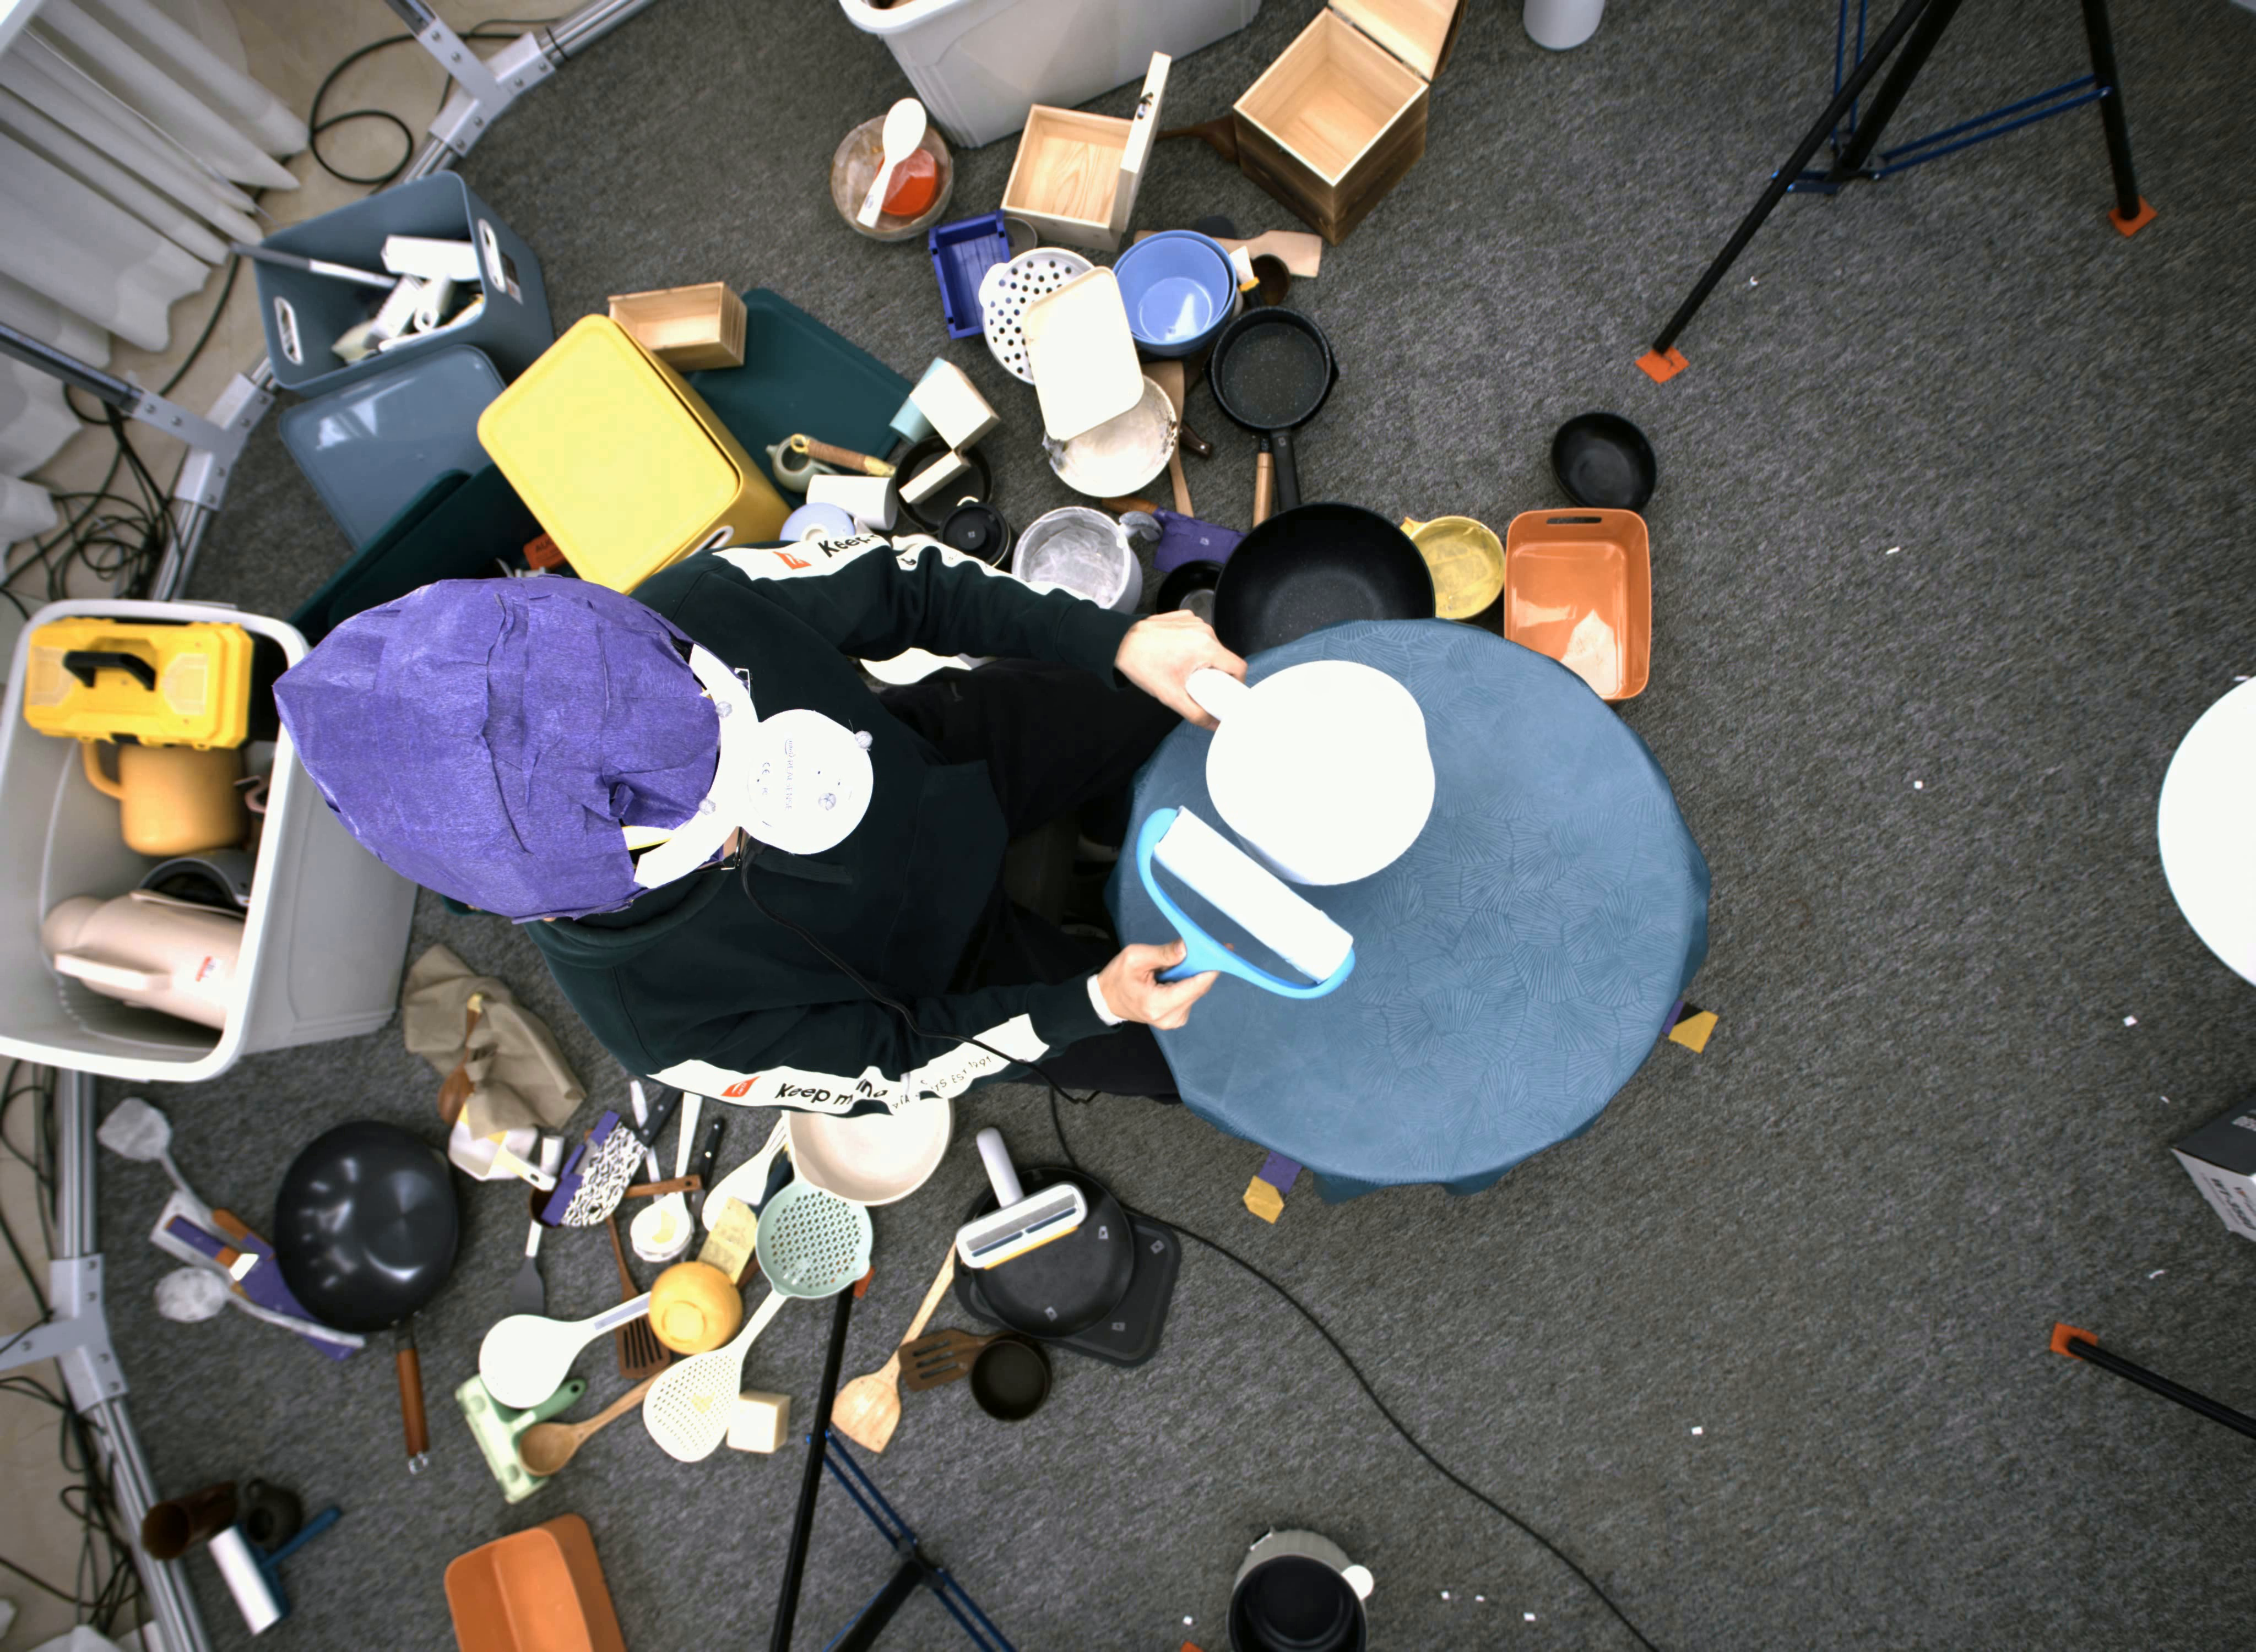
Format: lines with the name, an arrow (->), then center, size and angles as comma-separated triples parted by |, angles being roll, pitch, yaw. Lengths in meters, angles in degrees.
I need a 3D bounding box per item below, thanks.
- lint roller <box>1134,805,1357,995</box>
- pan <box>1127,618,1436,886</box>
lint roller -> 0.074, 0.102, 1.246 | 0.229, 0.066, 0.184 | 34, 118, -8
pan -> 0.134, -0.084, 1.310 | 0.200, 0.103, 0.351 | -46, 54, -6
